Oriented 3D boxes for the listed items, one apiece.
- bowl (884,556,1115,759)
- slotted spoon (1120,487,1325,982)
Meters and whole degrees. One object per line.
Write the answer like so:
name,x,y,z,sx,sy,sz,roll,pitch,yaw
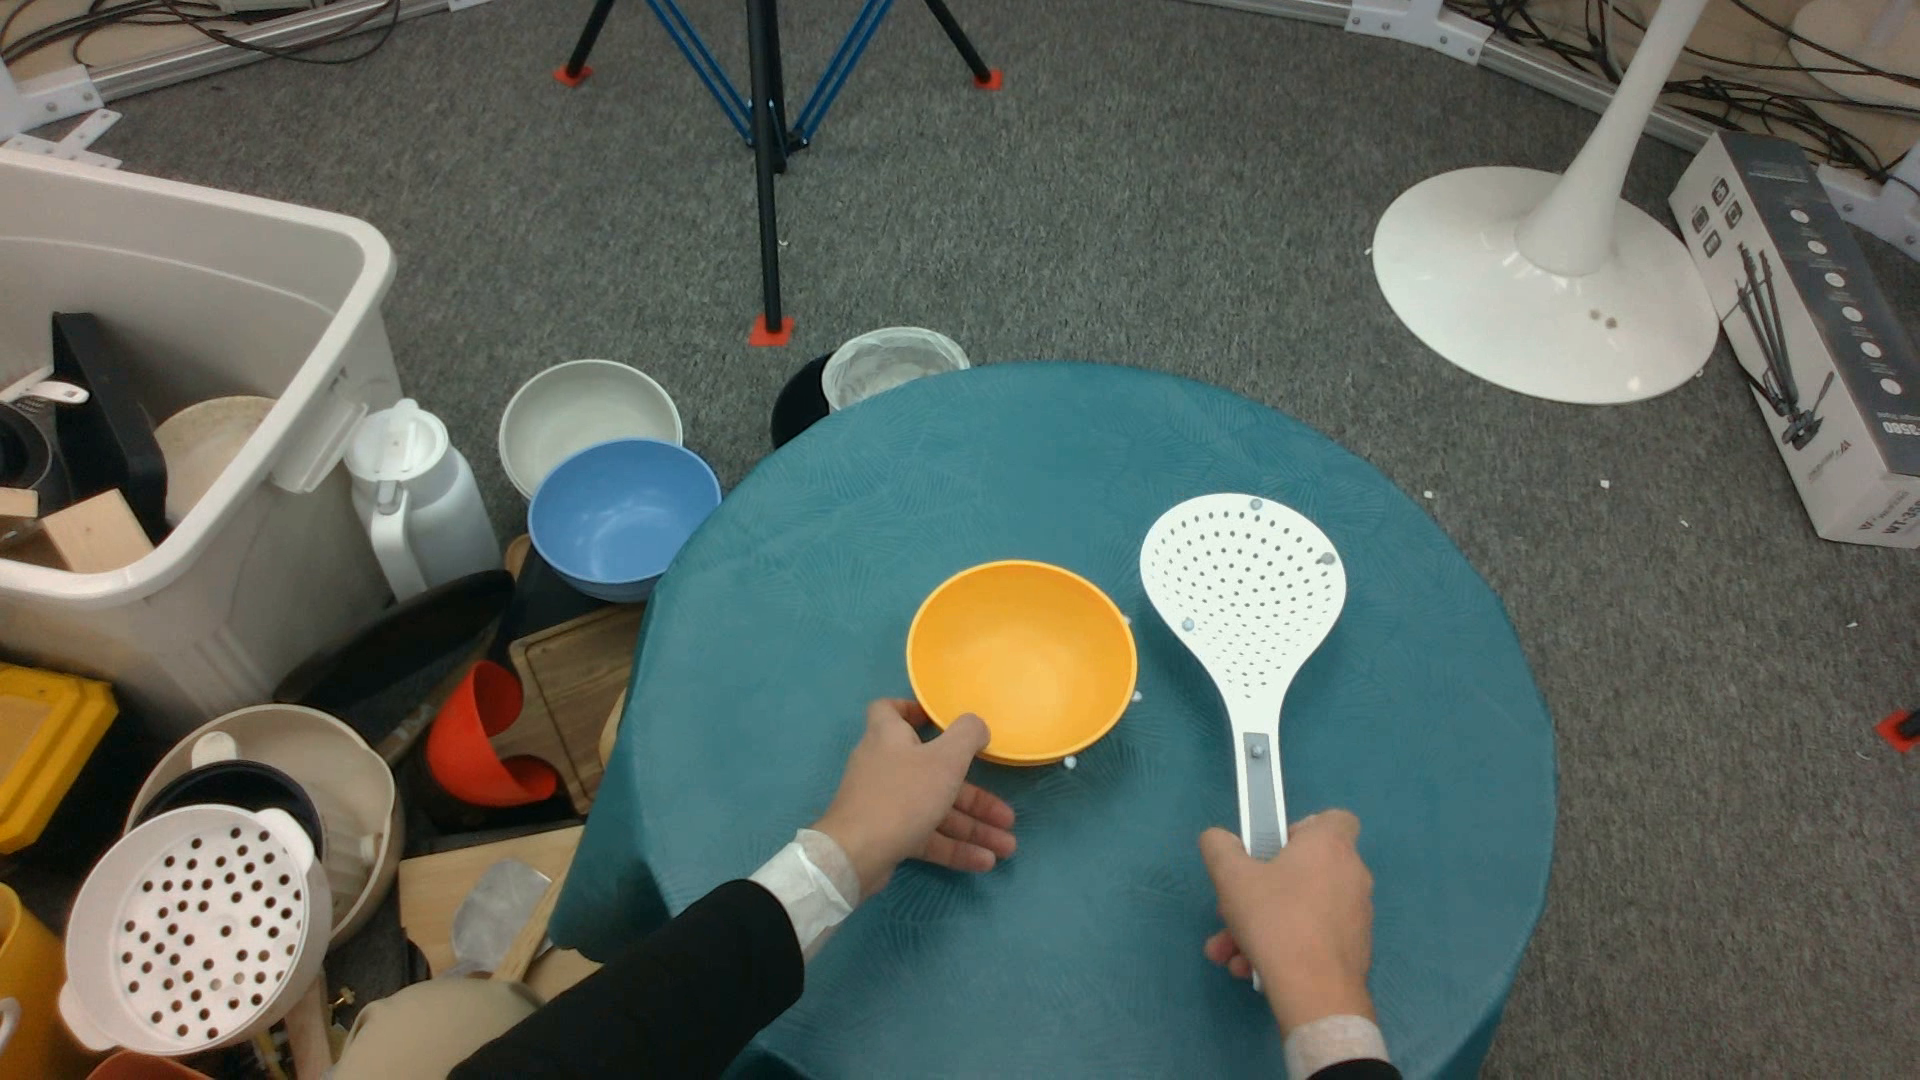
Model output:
bowl,0.024,0.084,0.873,0.145,0.060,0.146,2,52,-2
slotted spoon,0.170,0.103,0.856,0.136,0.045,0.351,1,45,3
